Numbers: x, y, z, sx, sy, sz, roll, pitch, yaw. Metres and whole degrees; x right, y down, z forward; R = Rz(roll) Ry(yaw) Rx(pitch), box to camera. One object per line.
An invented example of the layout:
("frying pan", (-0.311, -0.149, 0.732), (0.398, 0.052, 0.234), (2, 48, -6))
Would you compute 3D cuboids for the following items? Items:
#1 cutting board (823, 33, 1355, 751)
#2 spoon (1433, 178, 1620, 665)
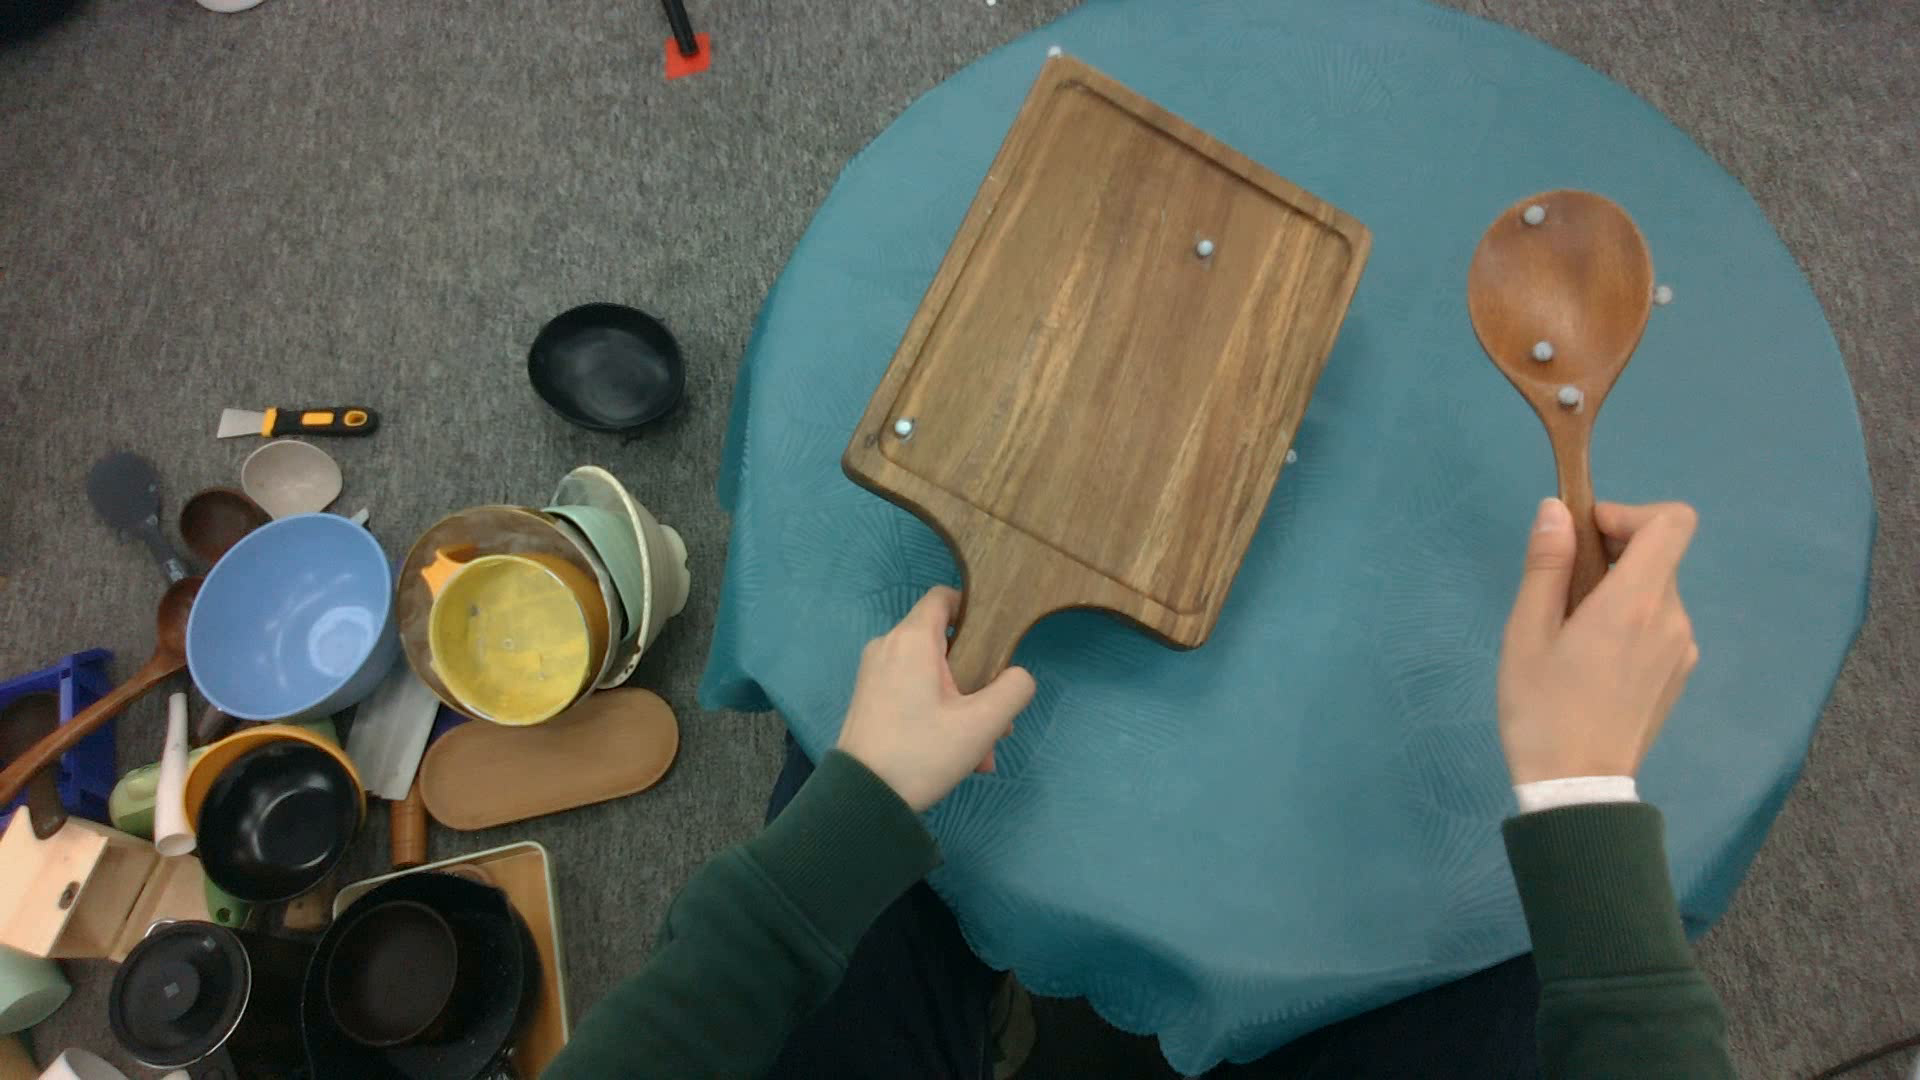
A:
("cutting board", (0.051, -0.062, 0.666), (0.201, 0.023, 0.353), (28, 74, -8))
("spoon", (0.246, -0.054, 0.585), (0.075, 0.017, 0.216), (-4, 74, 18))
